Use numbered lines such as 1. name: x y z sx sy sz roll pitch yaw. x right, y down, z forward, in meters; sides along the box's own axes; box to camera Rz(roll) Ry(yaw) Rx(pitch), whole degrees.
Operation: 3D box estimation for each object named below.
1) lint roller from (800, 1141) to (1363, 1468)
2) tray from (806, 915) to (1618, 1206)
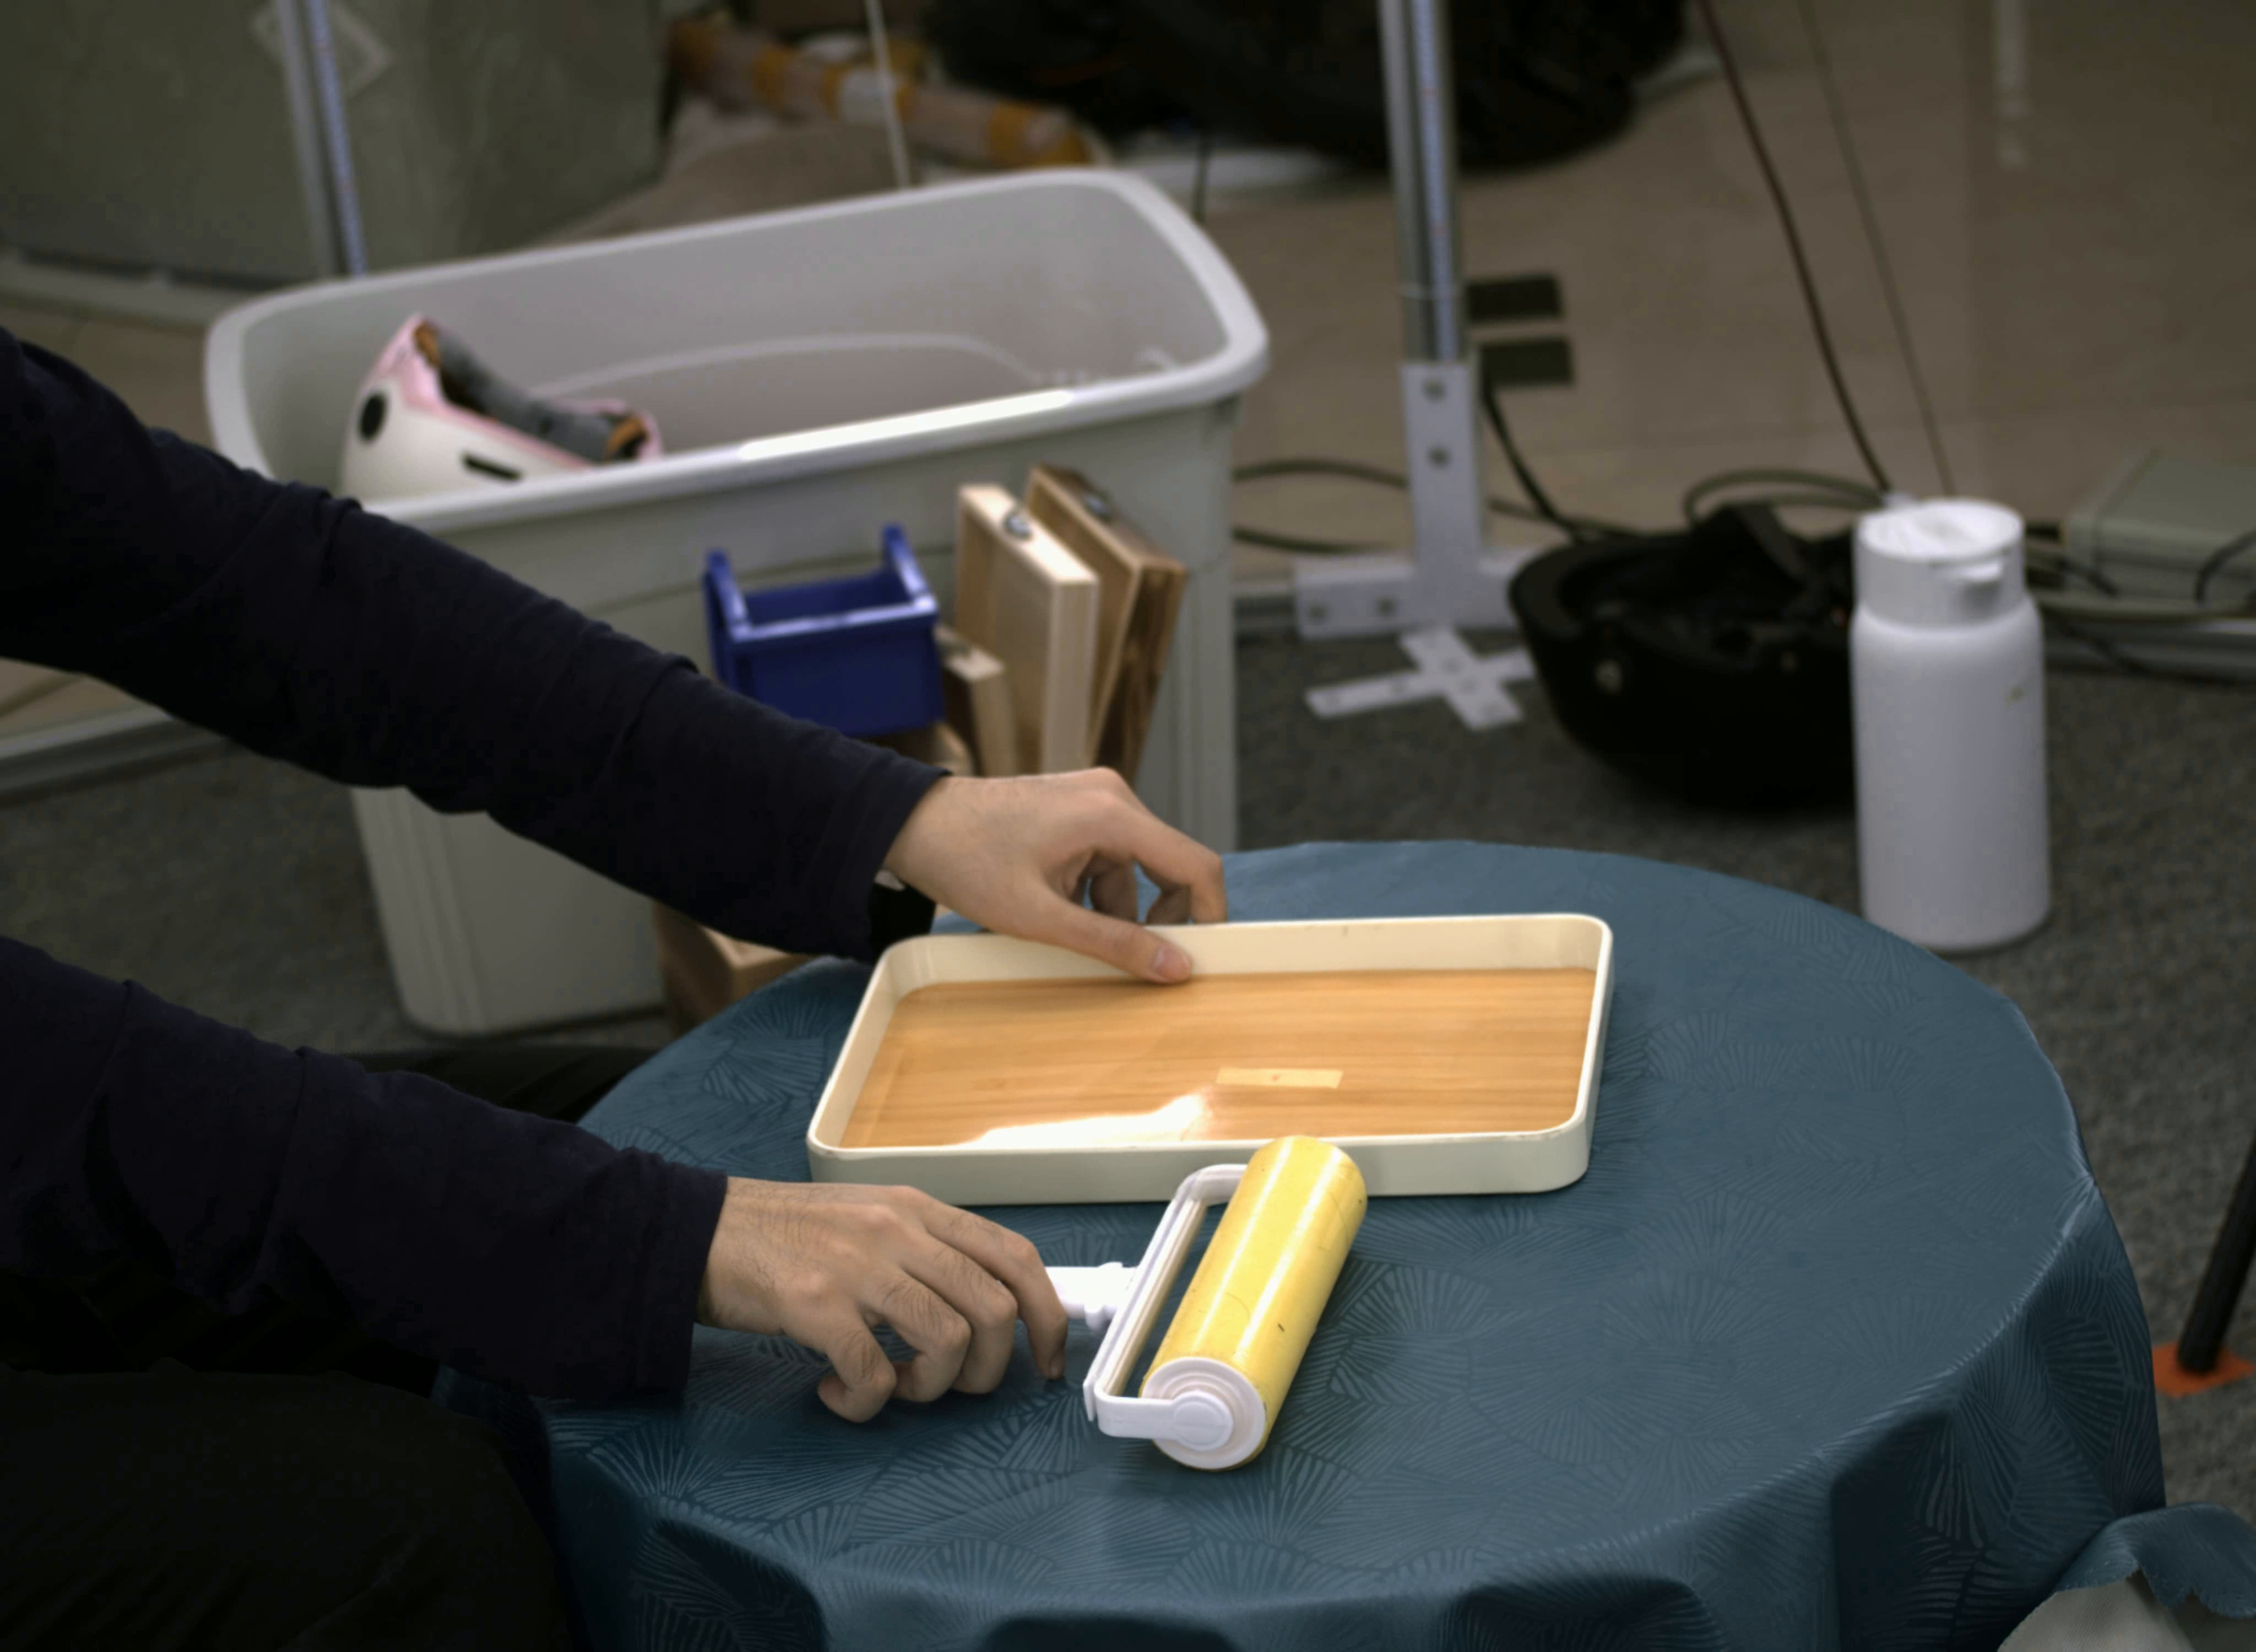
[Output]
1. lint roller: -0.024 0.162 2.033 0.191 0.052 0.172 8 27 10
2. tray: 0.036 0.091 2.214 0.300 0.028 0.189 -2 24 10
